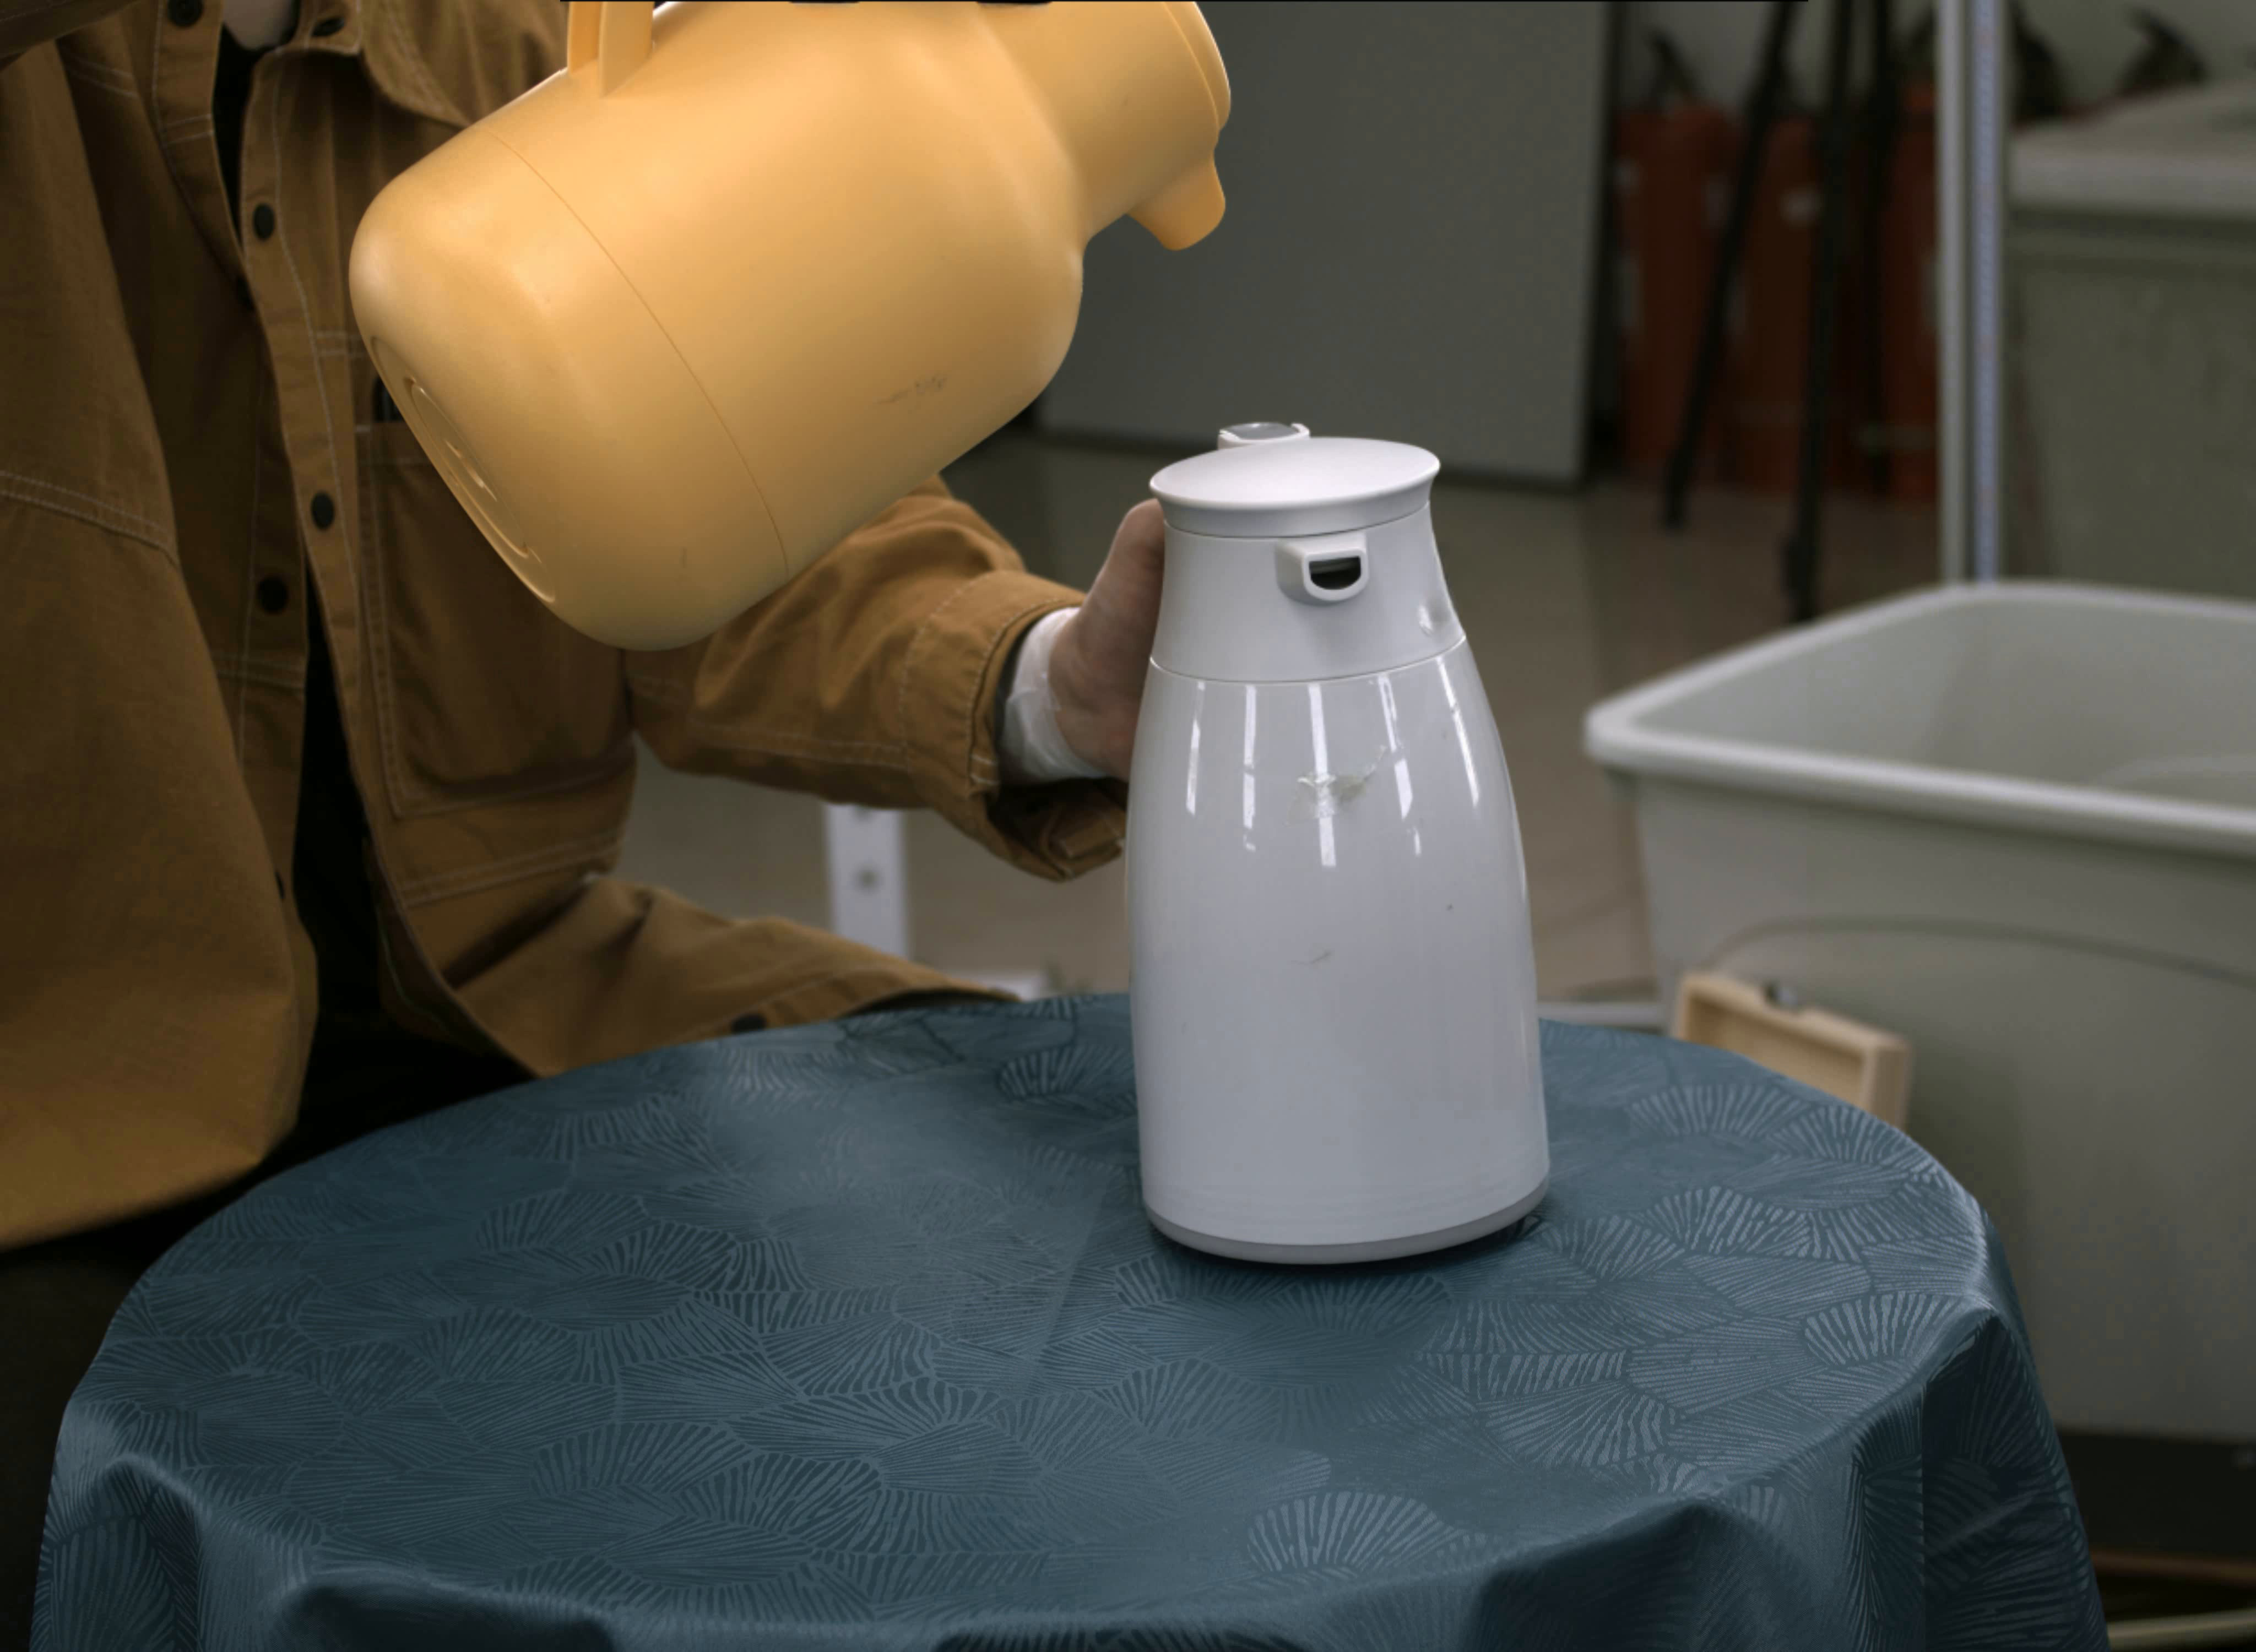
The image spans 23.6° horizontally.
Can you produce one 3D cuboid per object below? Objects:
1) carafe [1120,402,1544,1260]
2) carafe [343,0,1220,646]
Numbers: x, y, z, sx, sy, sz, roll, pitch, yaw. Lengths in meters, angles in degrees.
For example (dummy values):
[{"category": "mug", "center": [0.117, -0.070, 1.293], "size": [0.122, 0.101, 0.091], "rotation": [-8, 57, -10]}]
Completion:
[{"category": "carafe", "center": [0.055, -0.007, 1.721], "size": [0.130, 0.251, 0.168], "rotation": [-7, 14, -8]}, {"category": "carafe", "center": [-0.103, -0.197, 1.596], "size": [0.258, 0.202, 0.165], "rotation": [-37, 30, -12]}]
